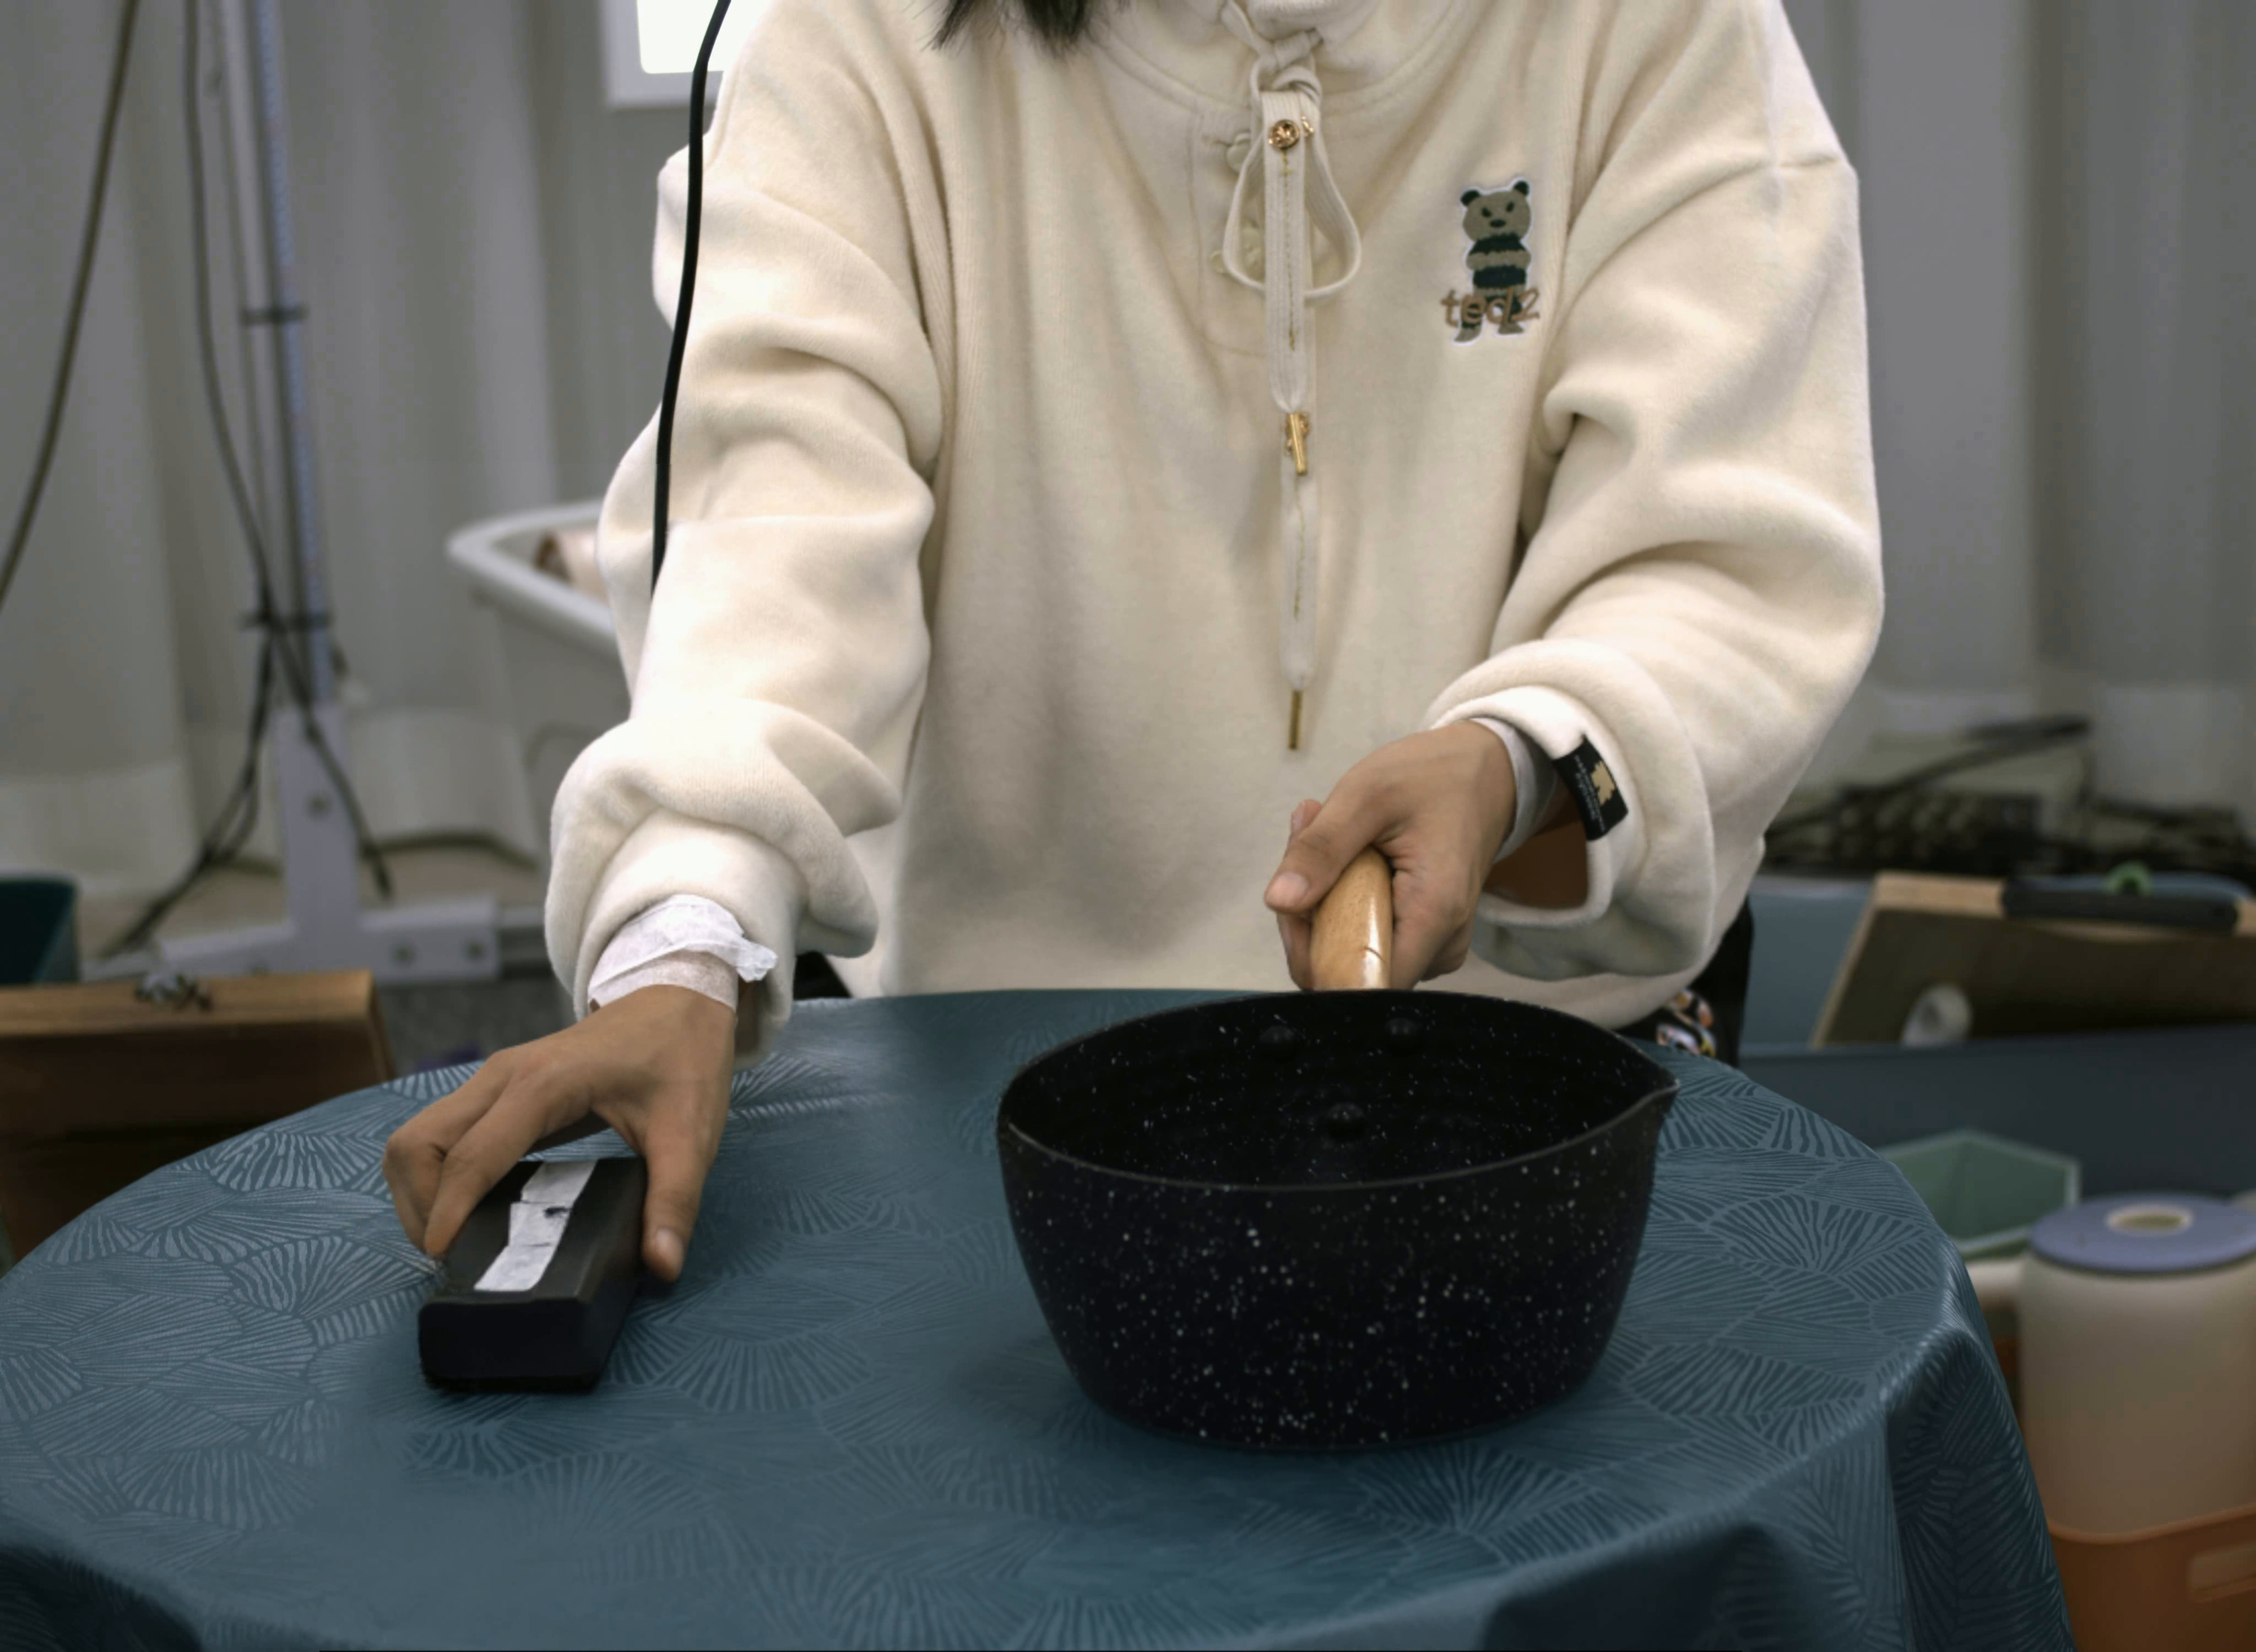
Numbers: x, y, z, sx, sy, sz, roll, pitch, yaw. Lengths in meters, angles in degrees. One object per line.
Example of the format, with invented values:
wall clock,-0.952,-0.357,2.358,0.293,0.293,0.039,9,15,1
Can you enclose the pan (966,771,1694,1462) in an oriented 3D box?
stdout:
pan,0.063,0.081,1.621,0.207,0.108,0.345,-3,16,5

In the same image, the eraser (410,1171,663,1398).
eraser,-0.173,0.135,1.618,0.053,0.030,0.126,-1,15,5
